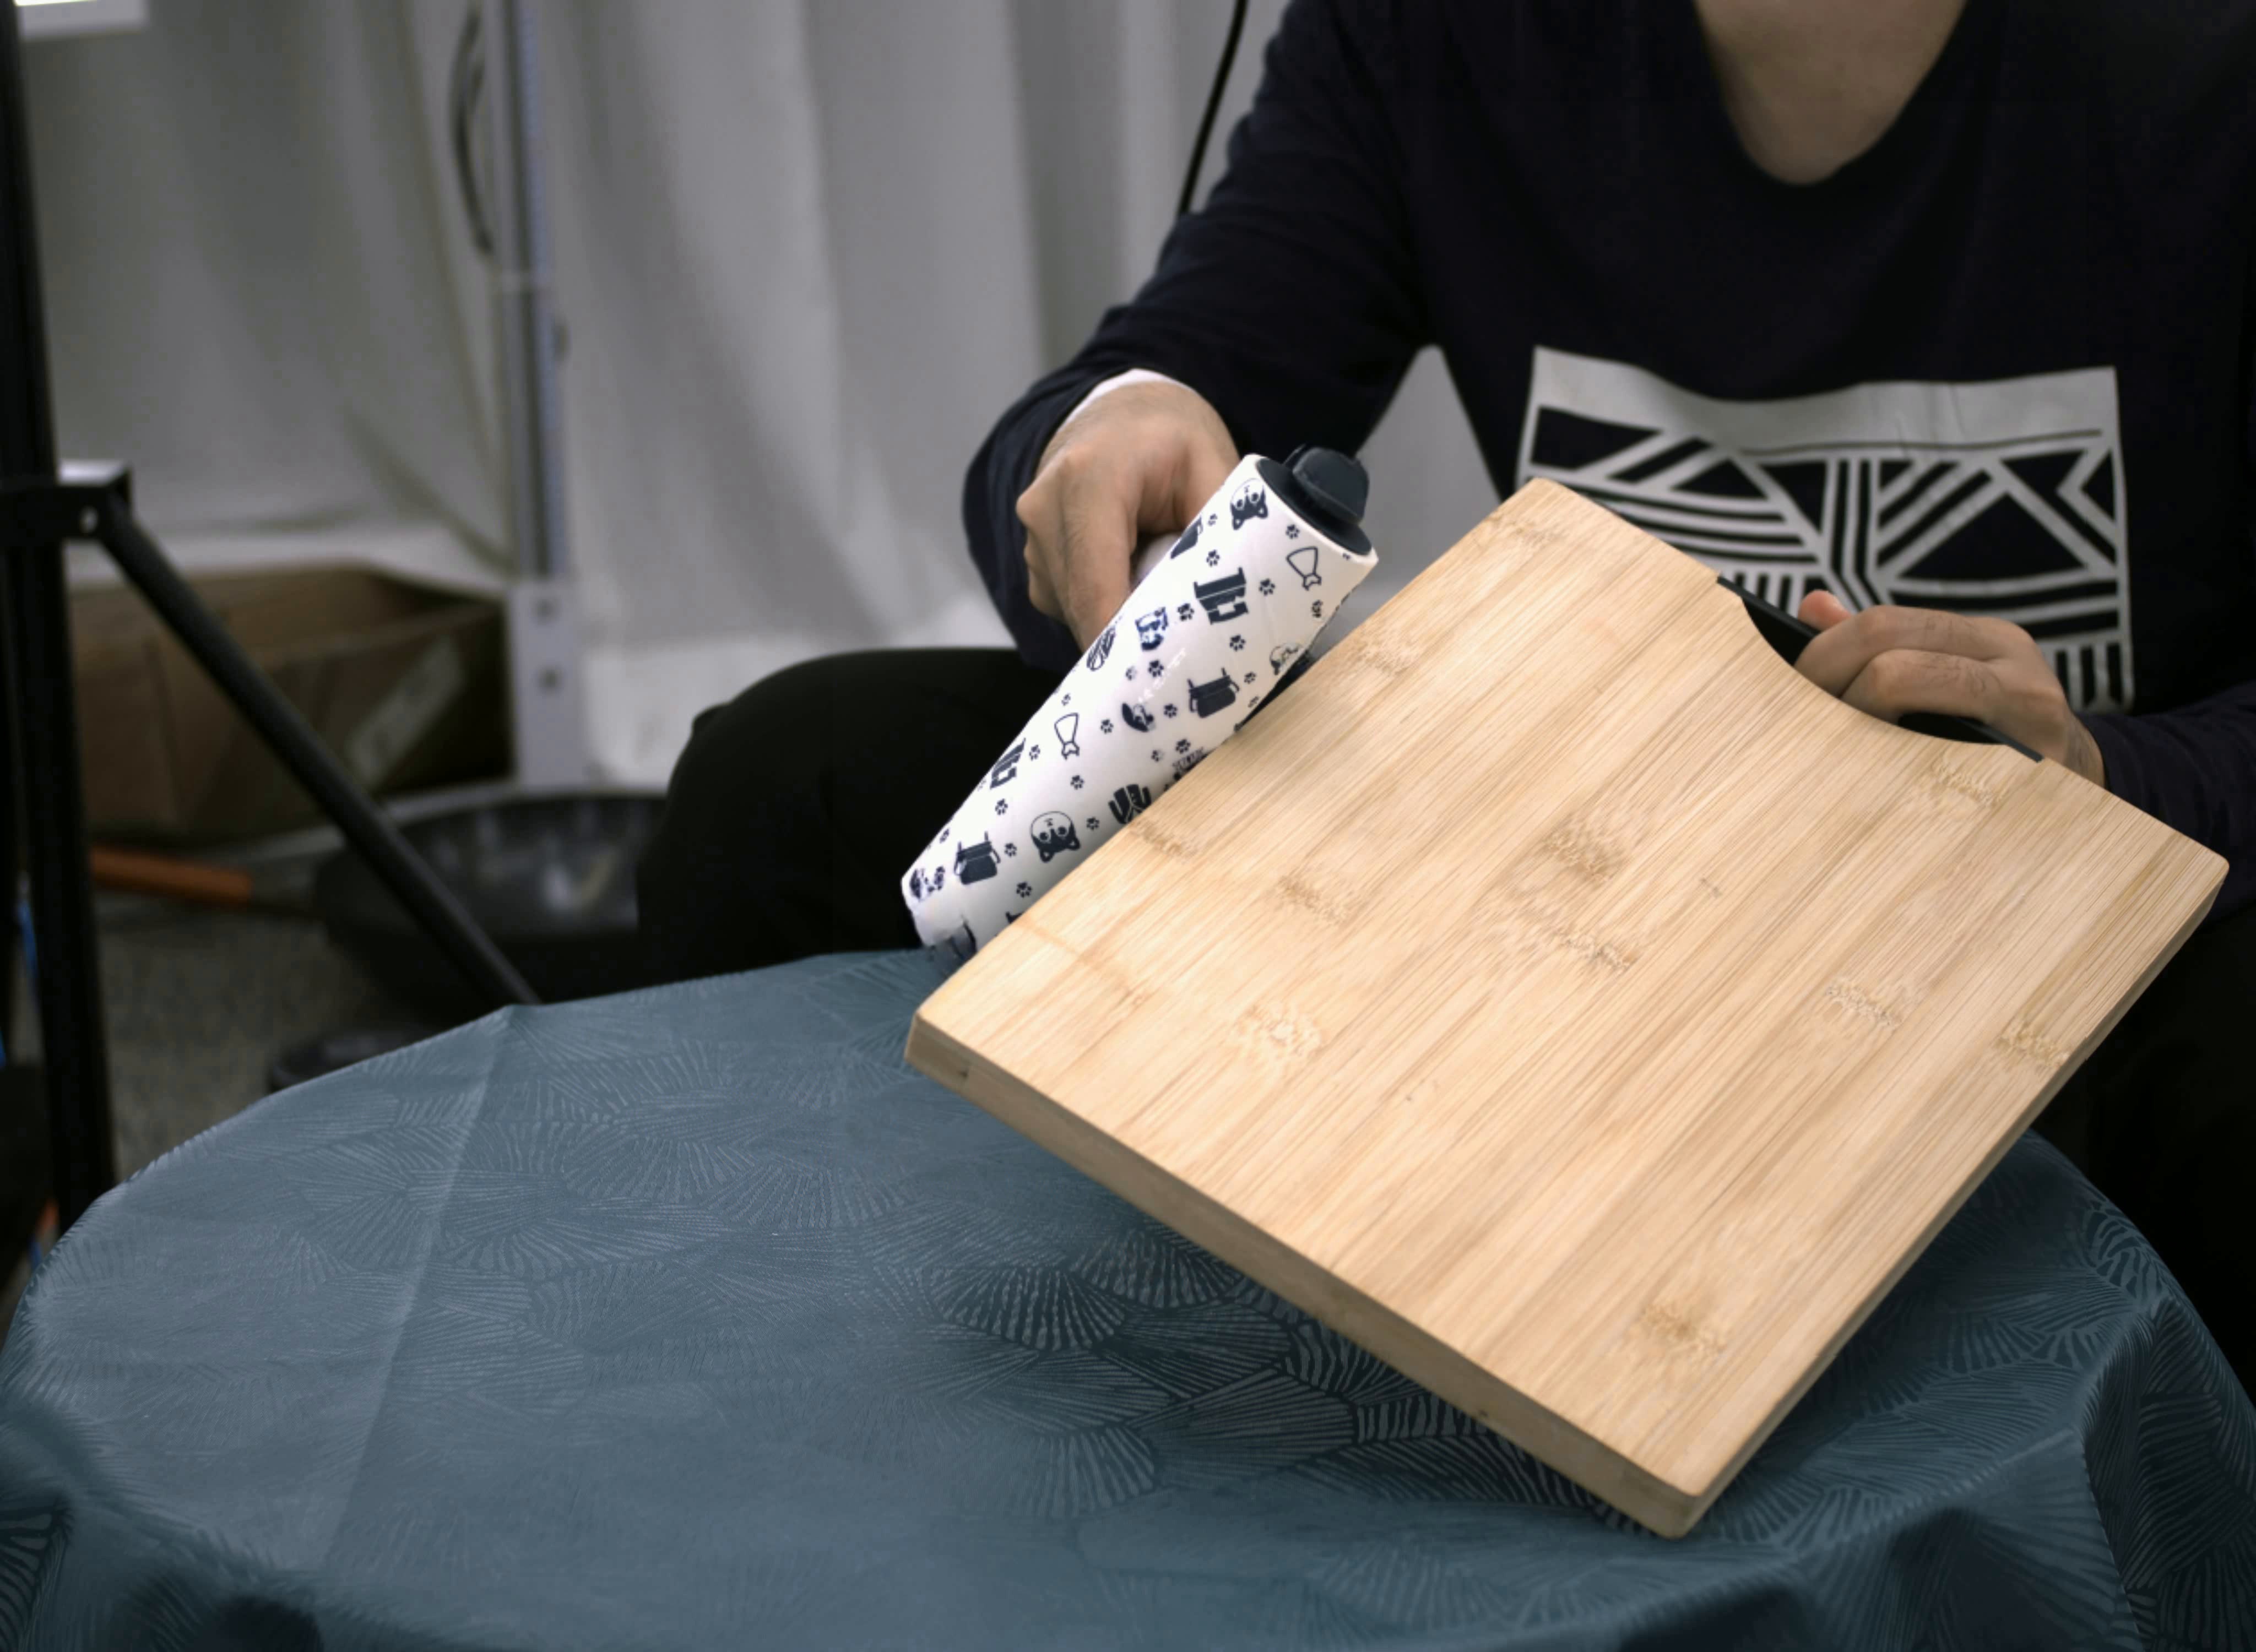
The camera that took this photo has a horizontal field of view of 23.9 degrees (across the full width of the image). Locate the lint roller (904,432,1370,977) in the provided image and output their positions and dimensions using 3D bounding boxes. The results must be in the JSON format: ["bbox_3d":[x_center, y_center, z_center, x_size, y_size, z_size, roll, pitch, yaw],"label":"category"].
[{"bbox_3d":[0.010,-0.056,1.583,0.050,0.177,0.247,37,15,-6],"label":"lint roller"}]

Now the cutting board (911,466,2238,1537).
[{"bbox_3d":[0.132,0.034,1.454,0.254,0.023,0.344,31,42,18],"label":"cutting board"}]
